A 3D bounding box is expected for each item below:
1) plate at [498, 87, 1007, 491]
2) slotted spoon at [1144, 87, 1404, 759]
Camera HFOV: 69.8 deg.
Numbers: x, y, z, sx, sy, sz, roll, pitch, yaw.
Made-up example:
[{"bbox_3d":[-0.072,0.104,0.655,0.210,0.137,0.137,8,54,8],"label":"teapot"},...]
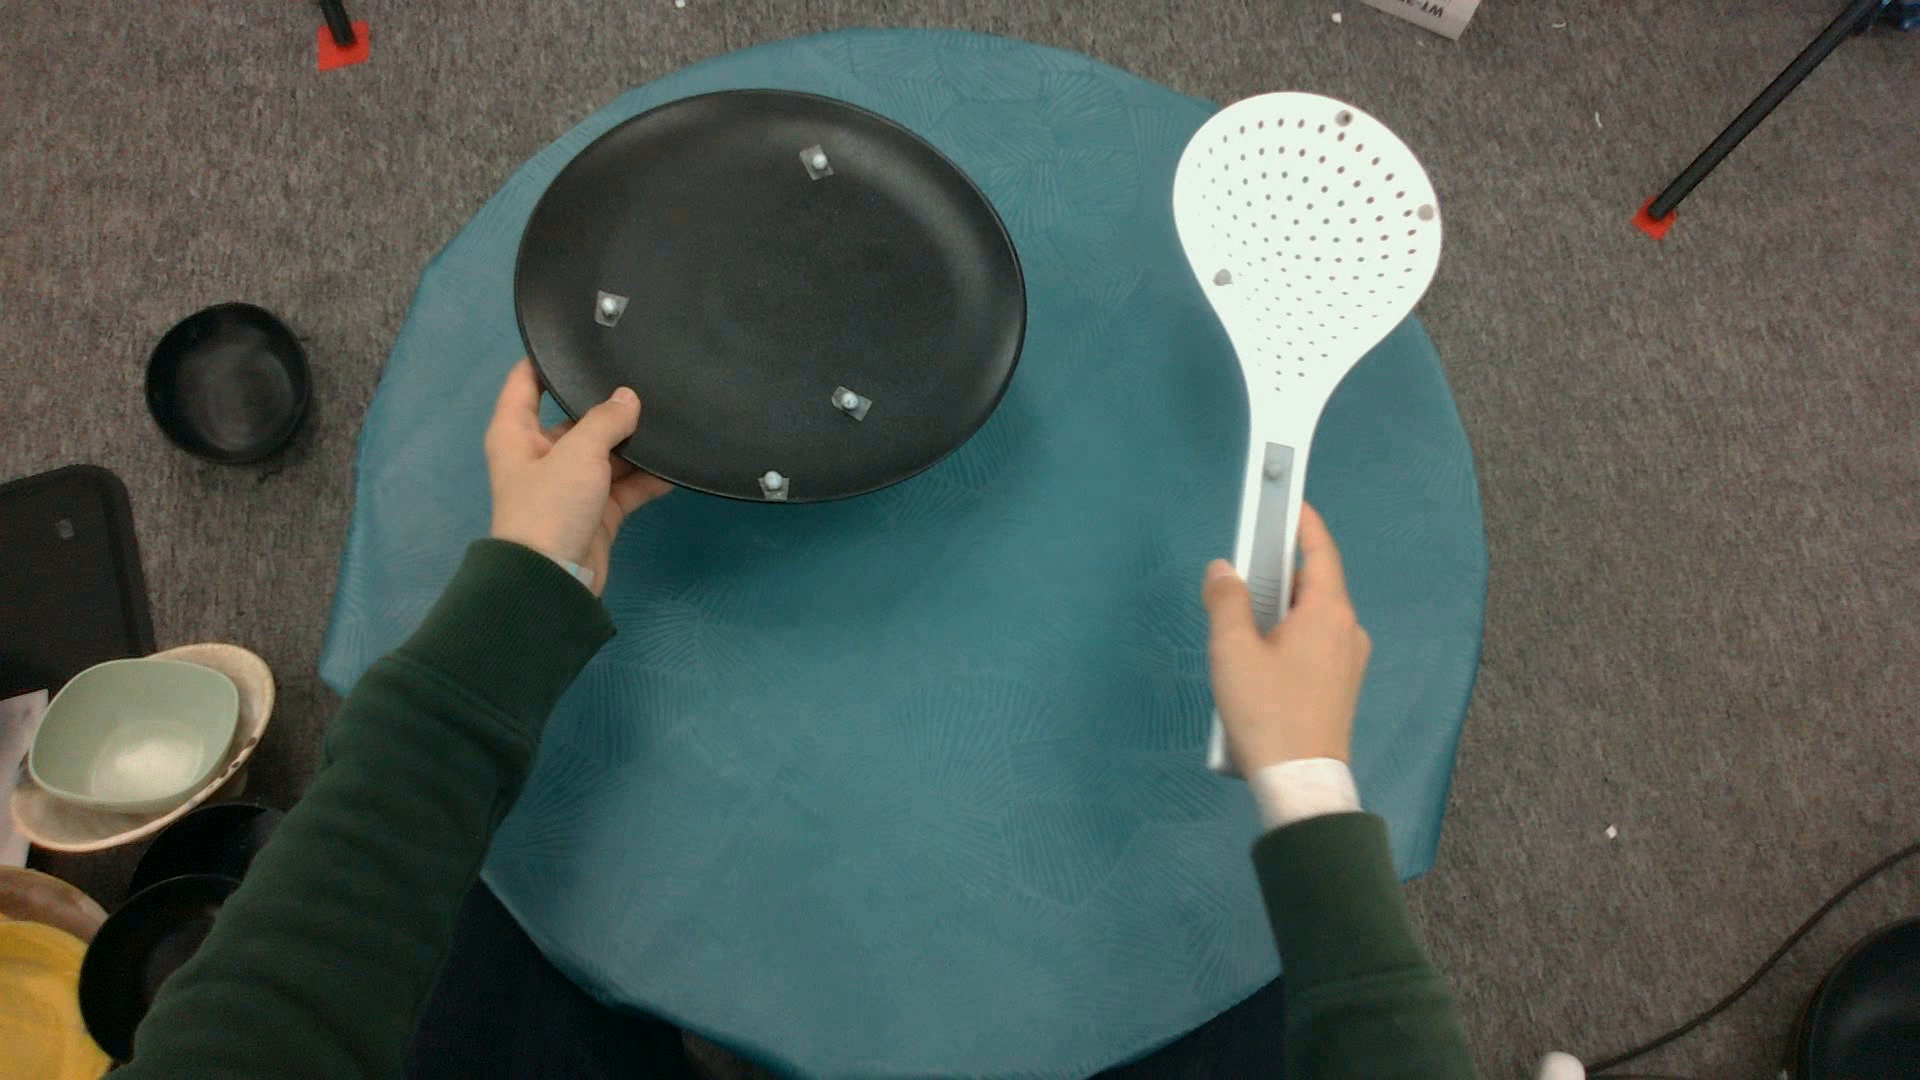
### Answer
[{"bbox_3d":[-0.098,-0.126,0.676,0.244,0.023,0.245,4,62,-8],"label":"plate"},{"bbox_3d":[0.140,-0.068,0.660,0.136,0.045,0.351,12,65,-4],"label":"slotted spoon"}]
